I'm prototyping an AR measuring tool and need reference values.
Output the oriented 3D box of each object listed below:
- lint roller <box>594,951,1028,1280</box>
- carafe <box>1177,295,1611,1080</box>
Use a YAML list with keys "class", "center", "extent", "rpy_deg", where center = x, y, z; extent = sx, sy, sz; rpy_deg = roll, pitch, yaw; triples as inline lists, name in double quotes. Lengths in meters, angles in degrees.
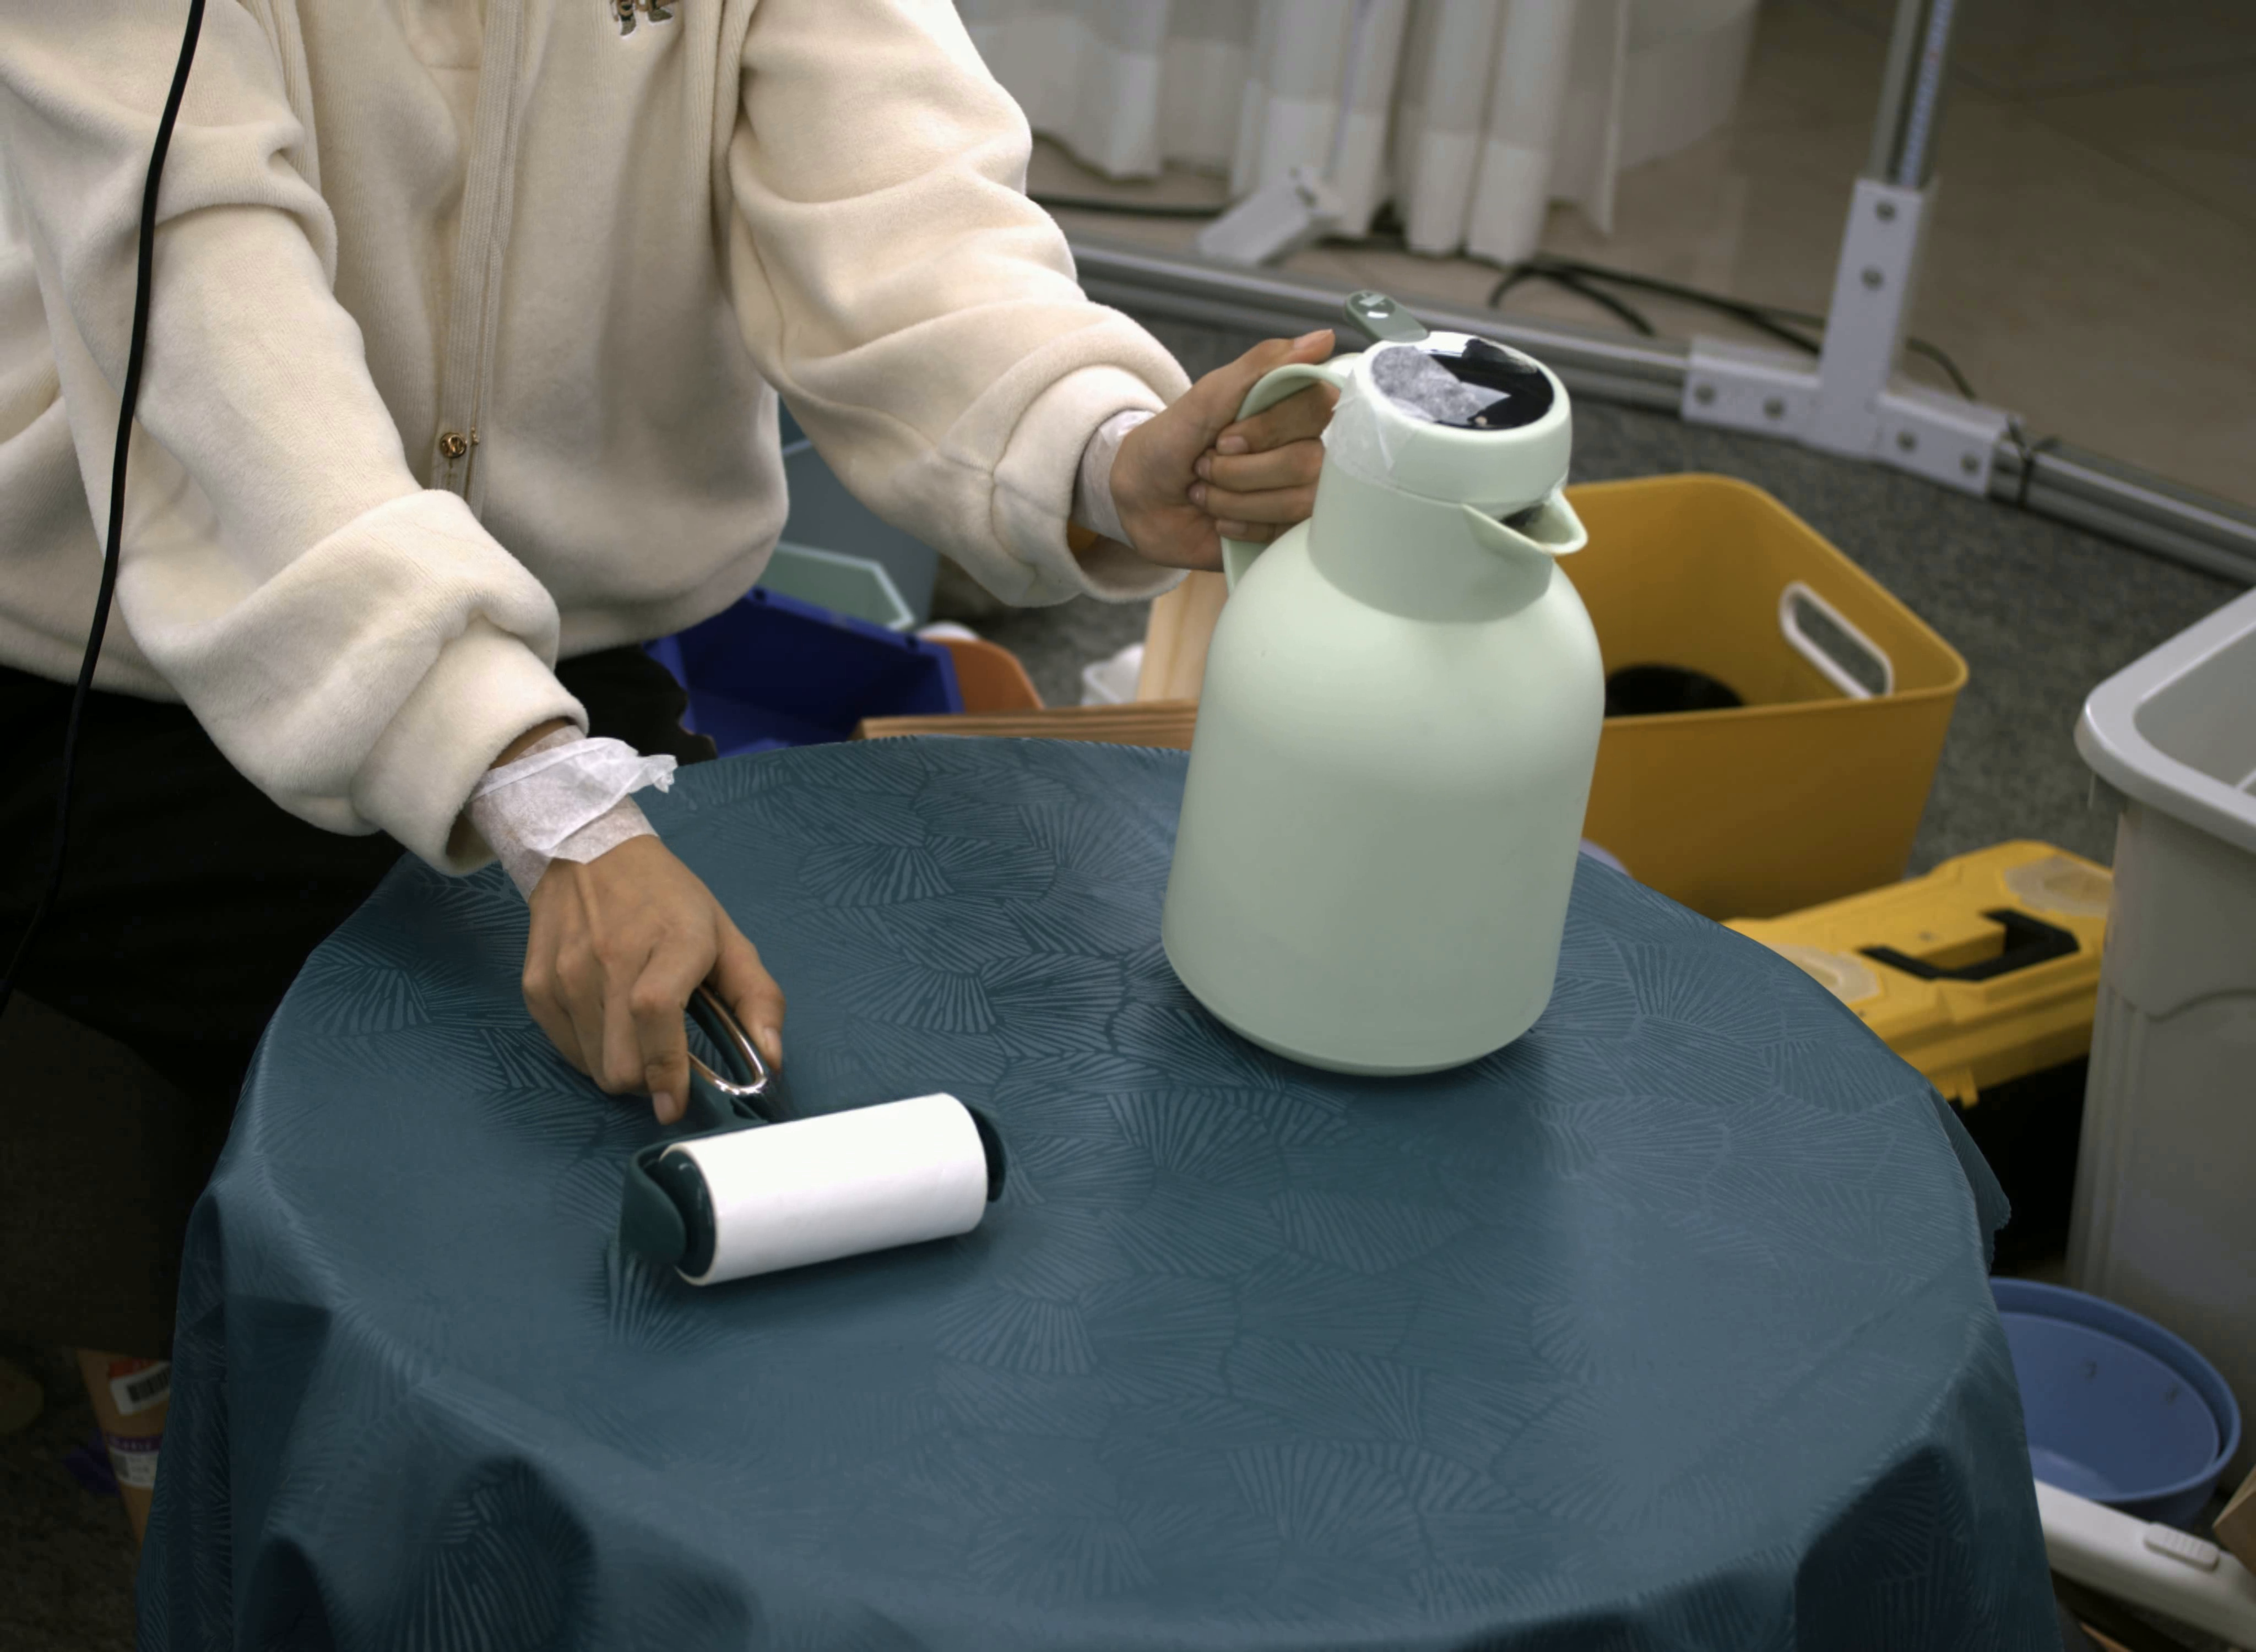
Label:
- class: "lint roller"
  center: [-0.132, 0.080, 1.783]
  extent: [0.133, 0.048, 0.182]
  rpy_deg: [-8, 39, -29]
- class: "carafe"
  center: [0.092, -0.054, 1.883]
  extent: [0.143, 0.256, 0.188]
  rpy_deg: [-13, 35, -28]
